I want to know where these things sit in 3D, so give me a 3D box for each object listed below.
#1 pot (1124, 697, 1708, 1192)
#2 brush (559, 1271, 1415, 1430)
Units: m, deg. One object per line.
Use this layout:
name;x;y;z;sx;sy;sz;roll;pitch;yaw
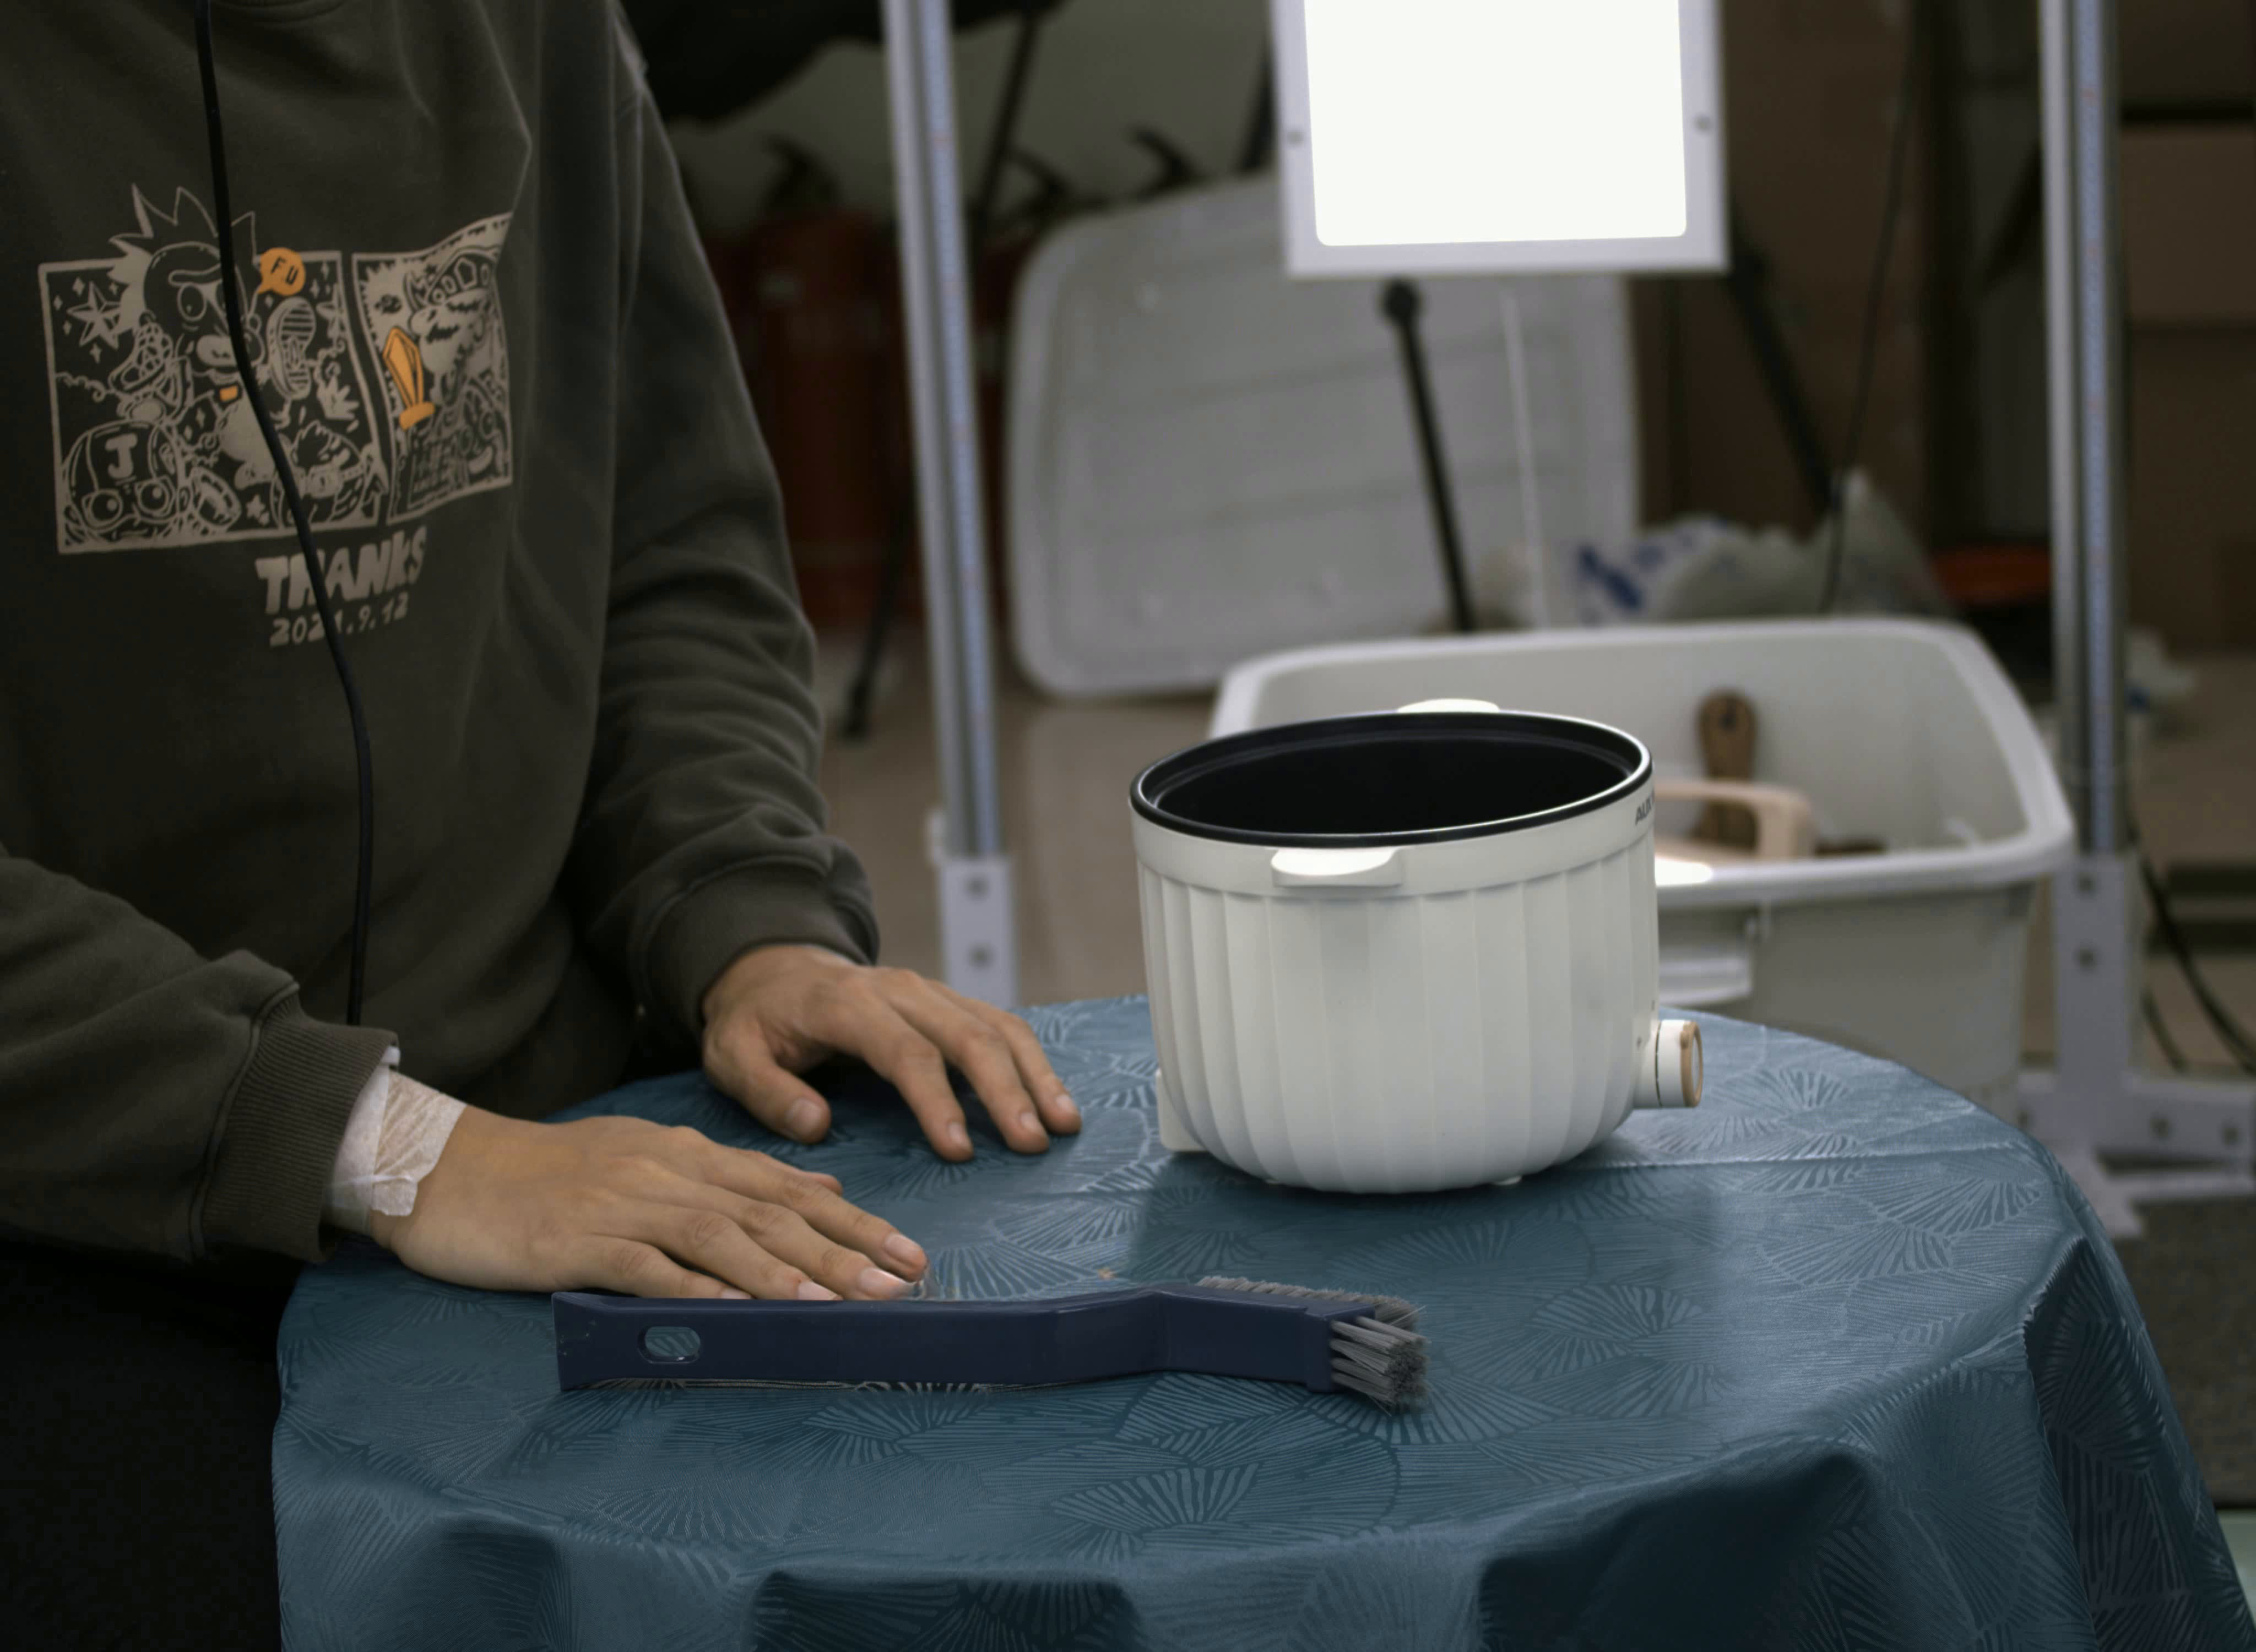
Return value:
pot;0.101;0.043;1.904;0.192;0.143;0.237;-5;15;16
brush;-0.047;0.161;1.710;0.274;0.033;0.095;-2;14;8
